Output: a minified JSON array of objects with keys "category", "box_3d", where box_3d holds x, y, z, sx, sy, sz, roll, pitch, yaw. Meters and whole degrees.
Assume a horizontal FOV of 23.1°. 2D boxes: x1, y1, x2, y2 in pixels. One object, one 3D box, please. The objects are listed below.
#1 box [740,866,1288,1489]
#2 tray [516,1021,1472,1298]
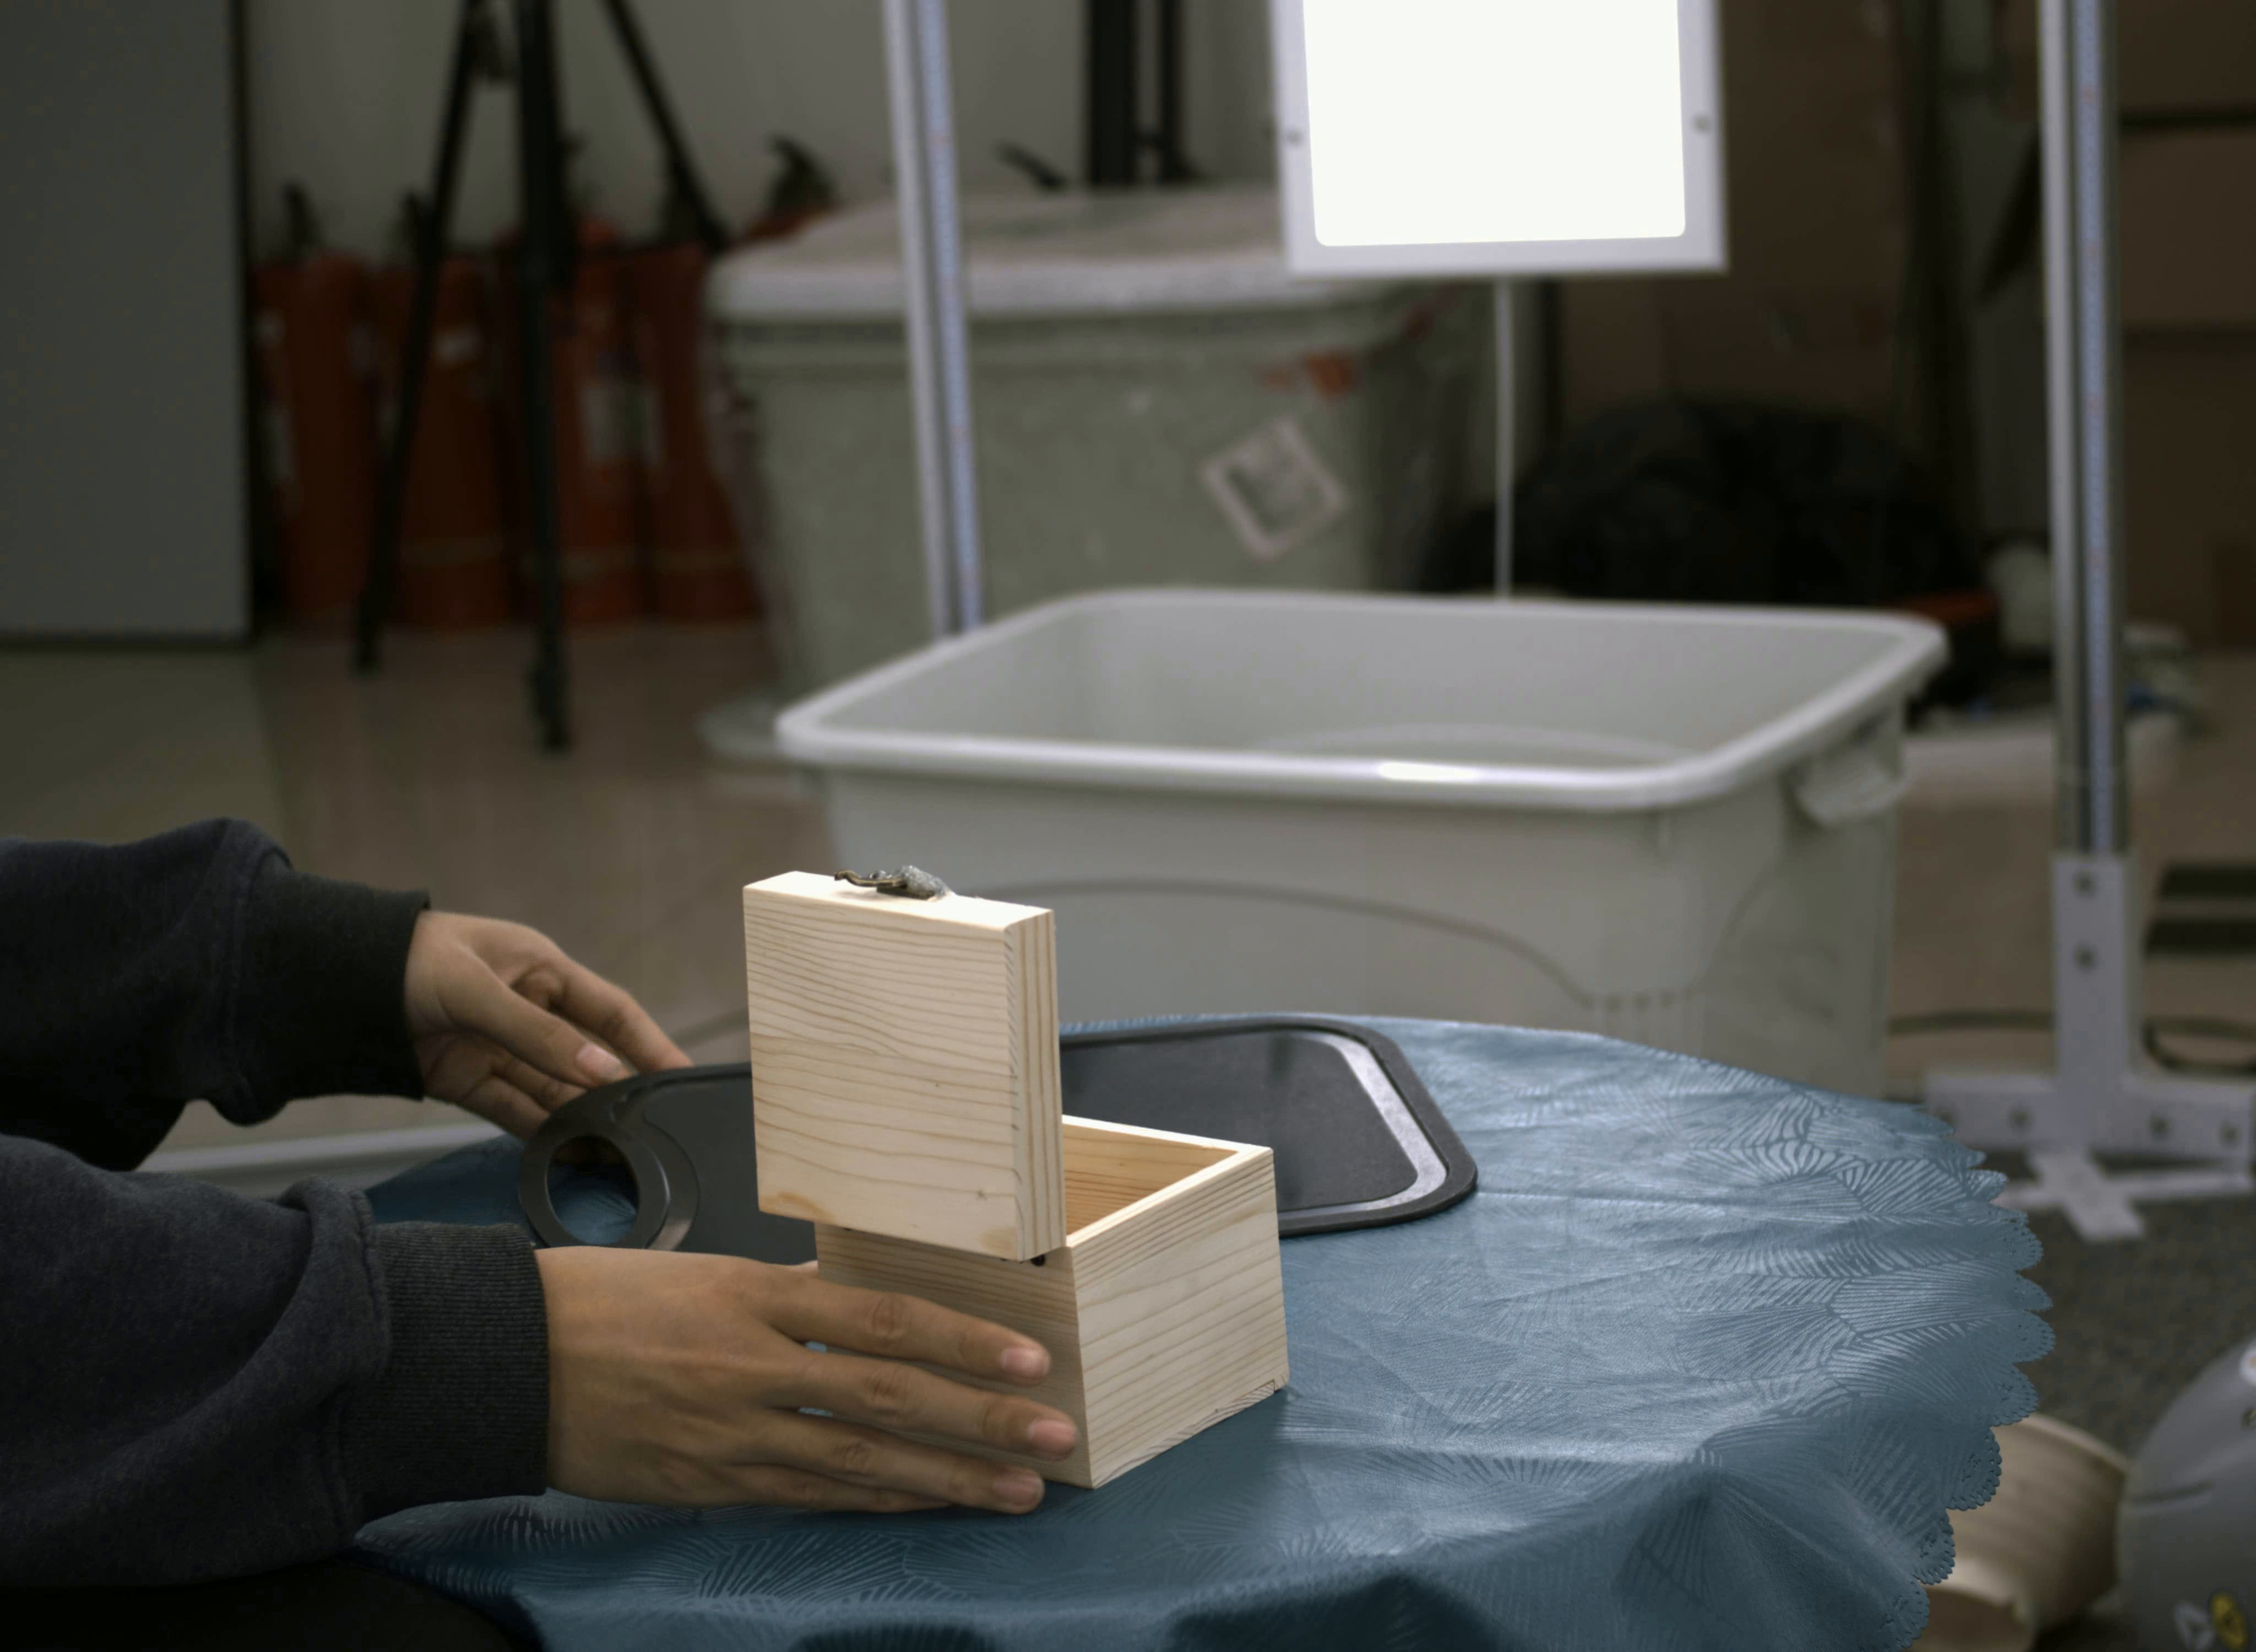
[{"category":"box","box_3d":[-0.032,0.093,1.657,0.105,0.185,0.130,7,19,38]},{"category":"tray","box_3d":[-0.051,0.113,1.921,0.323,0.010,0.212,-6,18,-6]}]
